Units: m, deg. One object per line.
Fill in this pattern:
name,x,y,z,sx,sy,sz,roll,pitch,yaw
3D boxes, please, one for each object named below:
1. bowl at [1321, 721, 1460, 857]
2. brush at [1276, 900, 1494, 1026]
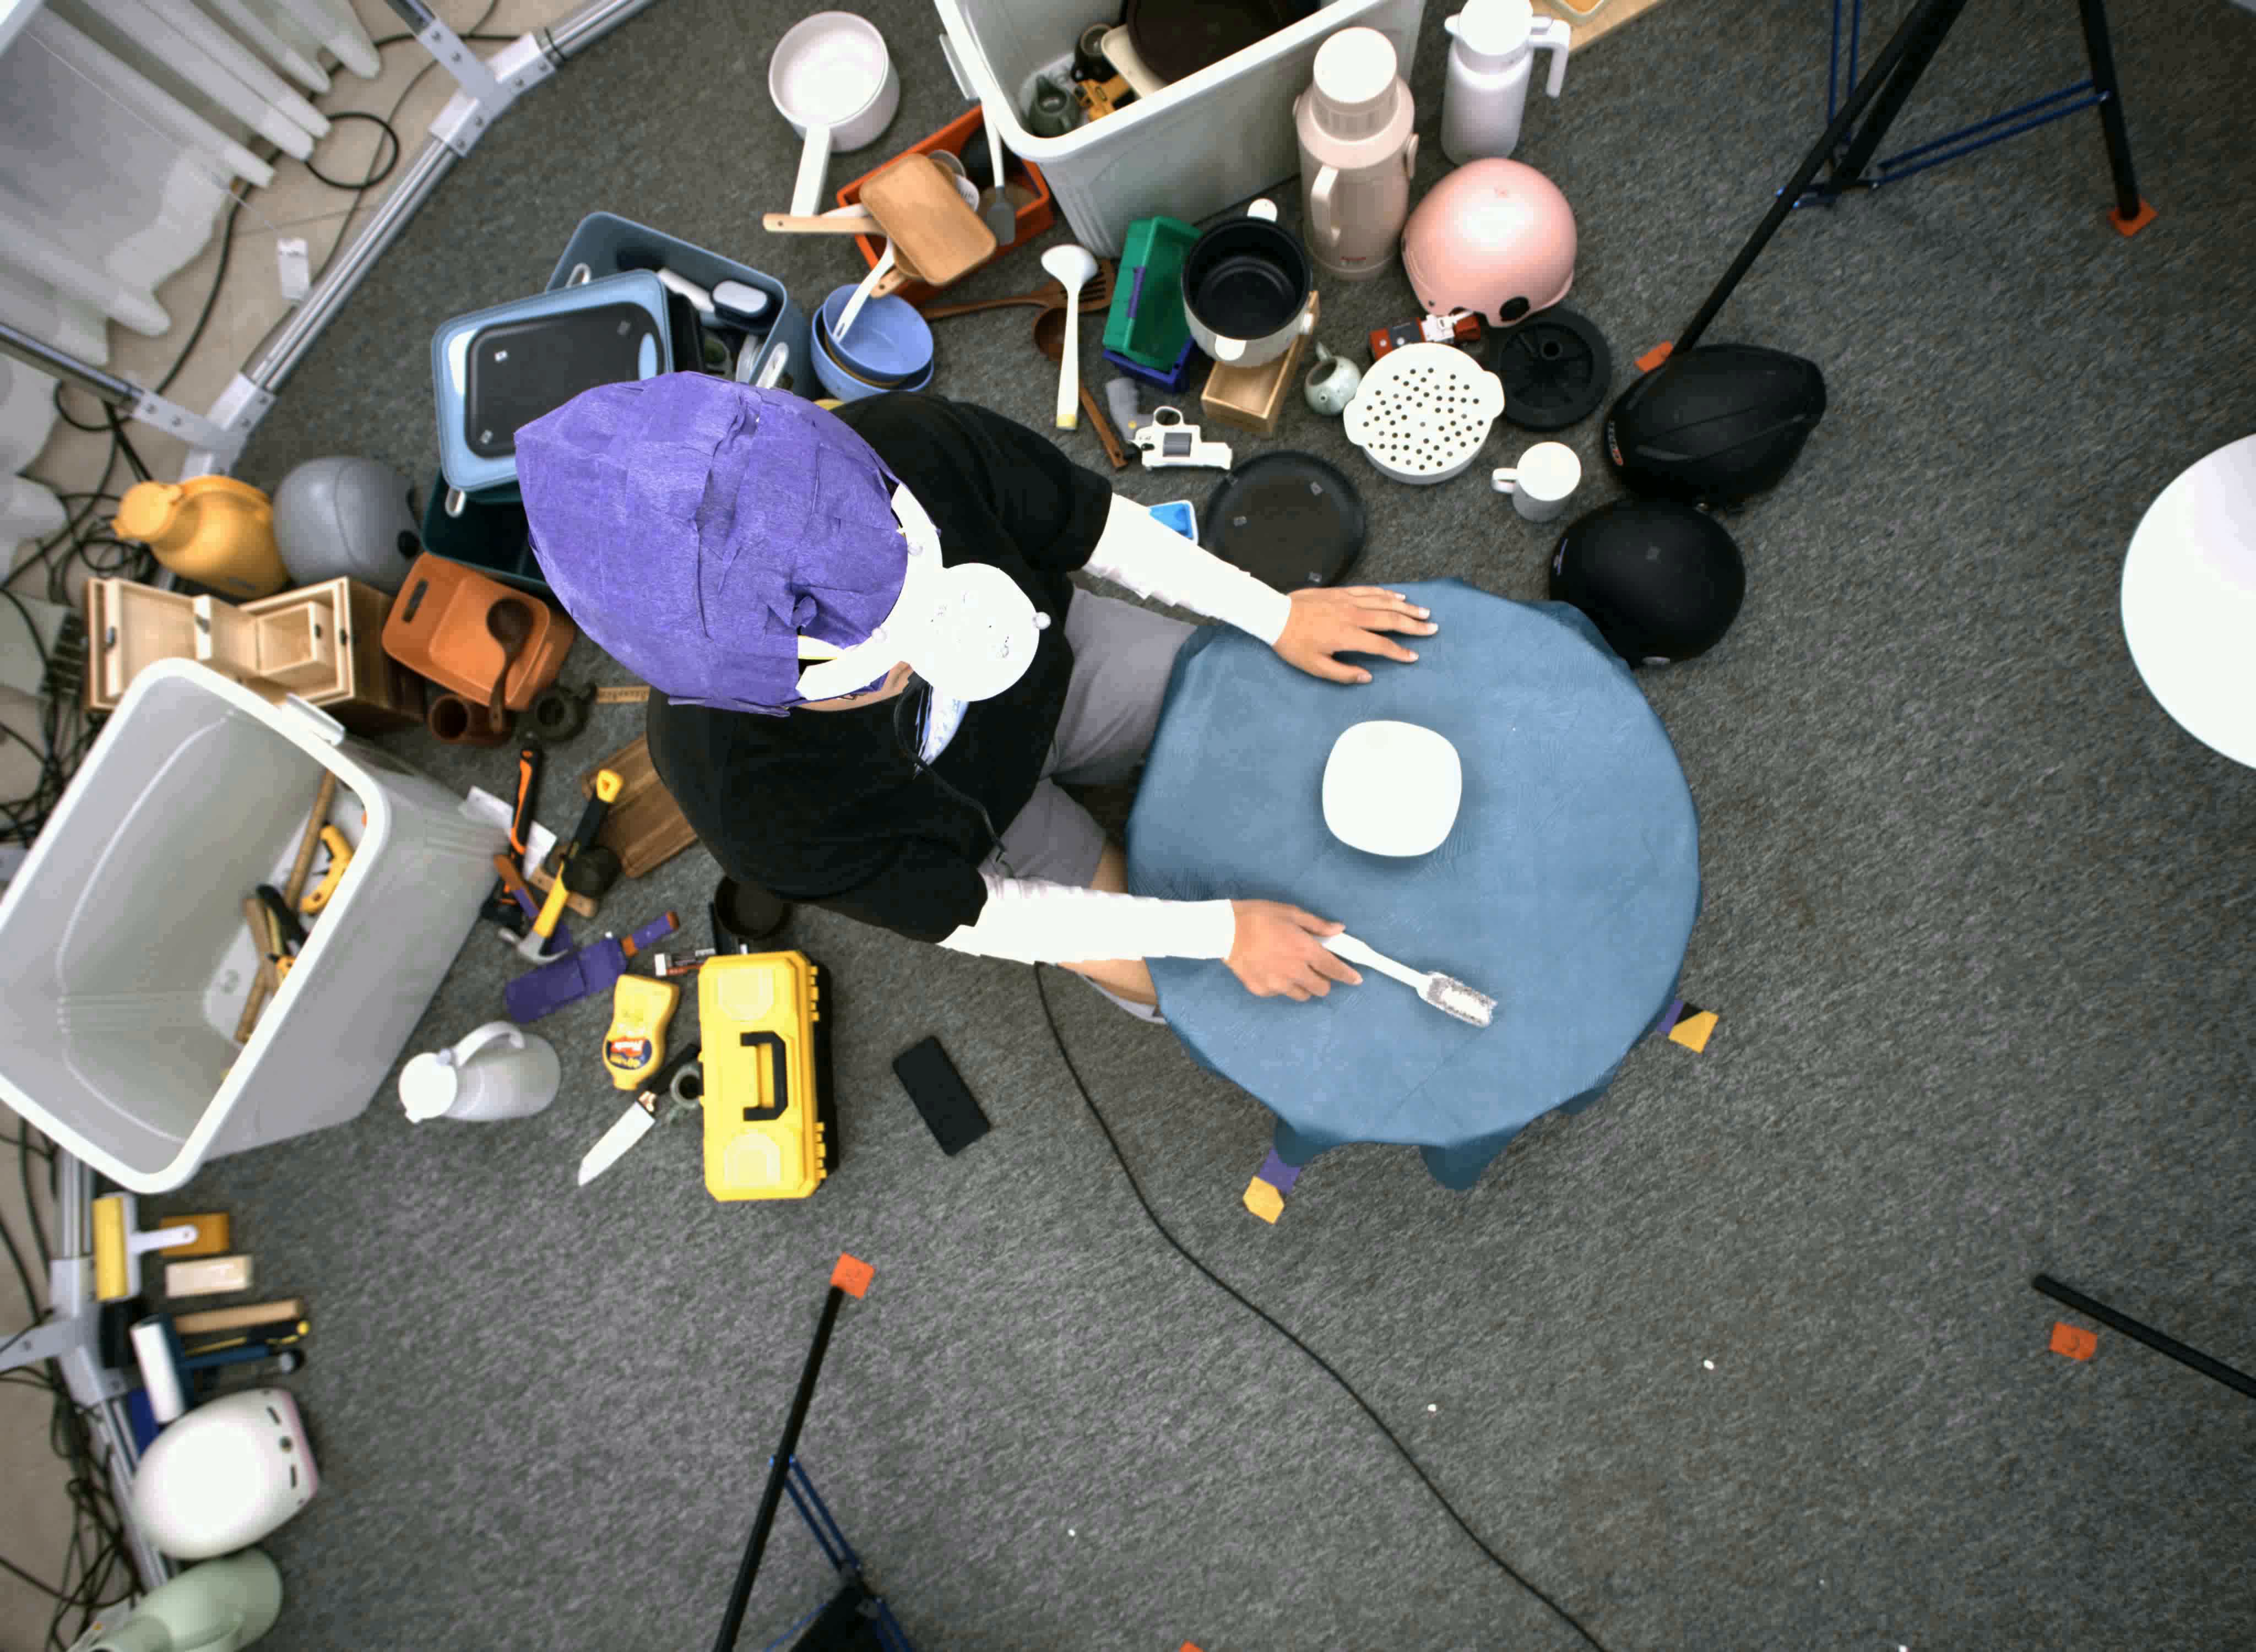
bowl,0.273,-0.036,1.435,0.152,0.059,0.150,-1,85,10
brush,0.262,0.137,1.431,0.243,0.050,0.034,28,87,10
